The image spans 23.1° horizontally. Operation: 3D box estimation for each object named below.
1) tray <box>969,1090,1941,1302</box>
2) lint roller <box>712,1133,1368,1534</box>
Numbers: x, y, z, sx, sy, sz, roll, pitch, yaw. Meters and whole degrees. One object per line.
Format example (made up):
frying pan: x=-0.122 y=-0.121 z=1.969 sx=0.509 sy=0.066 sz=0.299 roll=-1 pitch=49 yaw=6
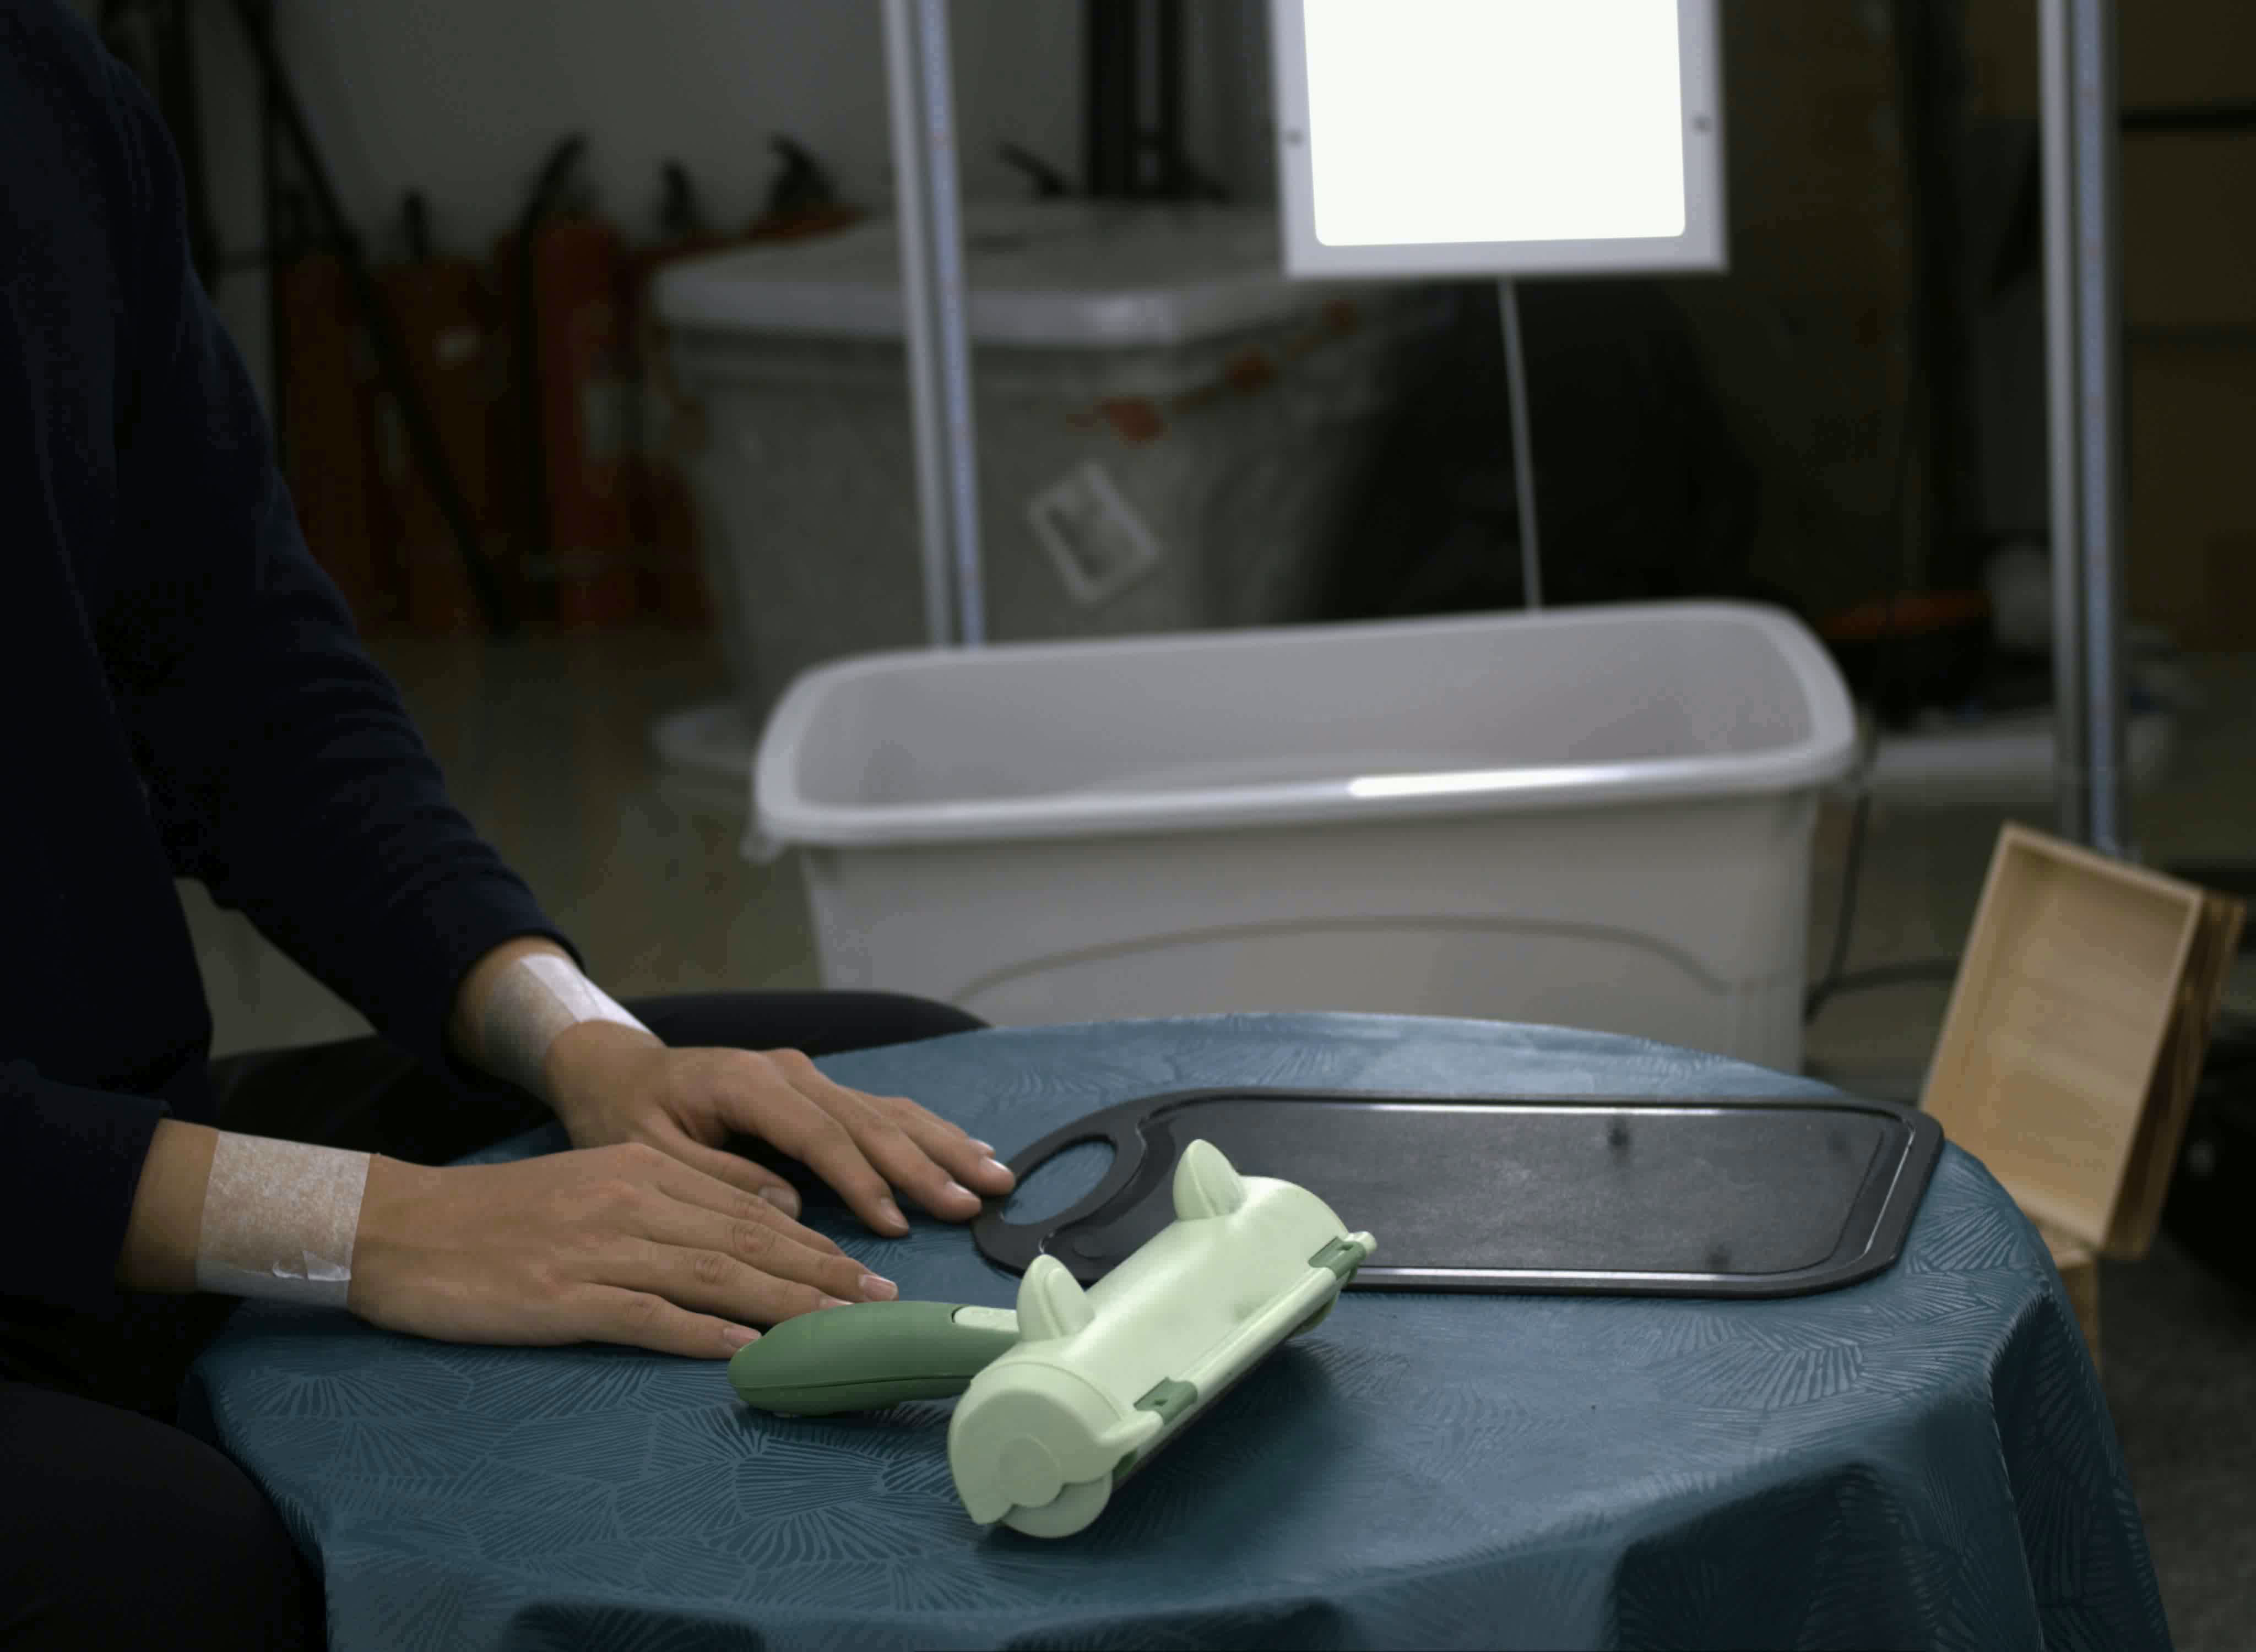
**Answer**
tray: x=0.108 y=0.121 z=1.865 sx=0.329 sy=0.010 sz=0.208 roll=0 pitch=15 yaw=18
lint roller: x=-0.043 y=0.141 z=1.671 sx=0.186 sy=0.082 sz=0.194 roll=8 pitch=17 yaw=23
